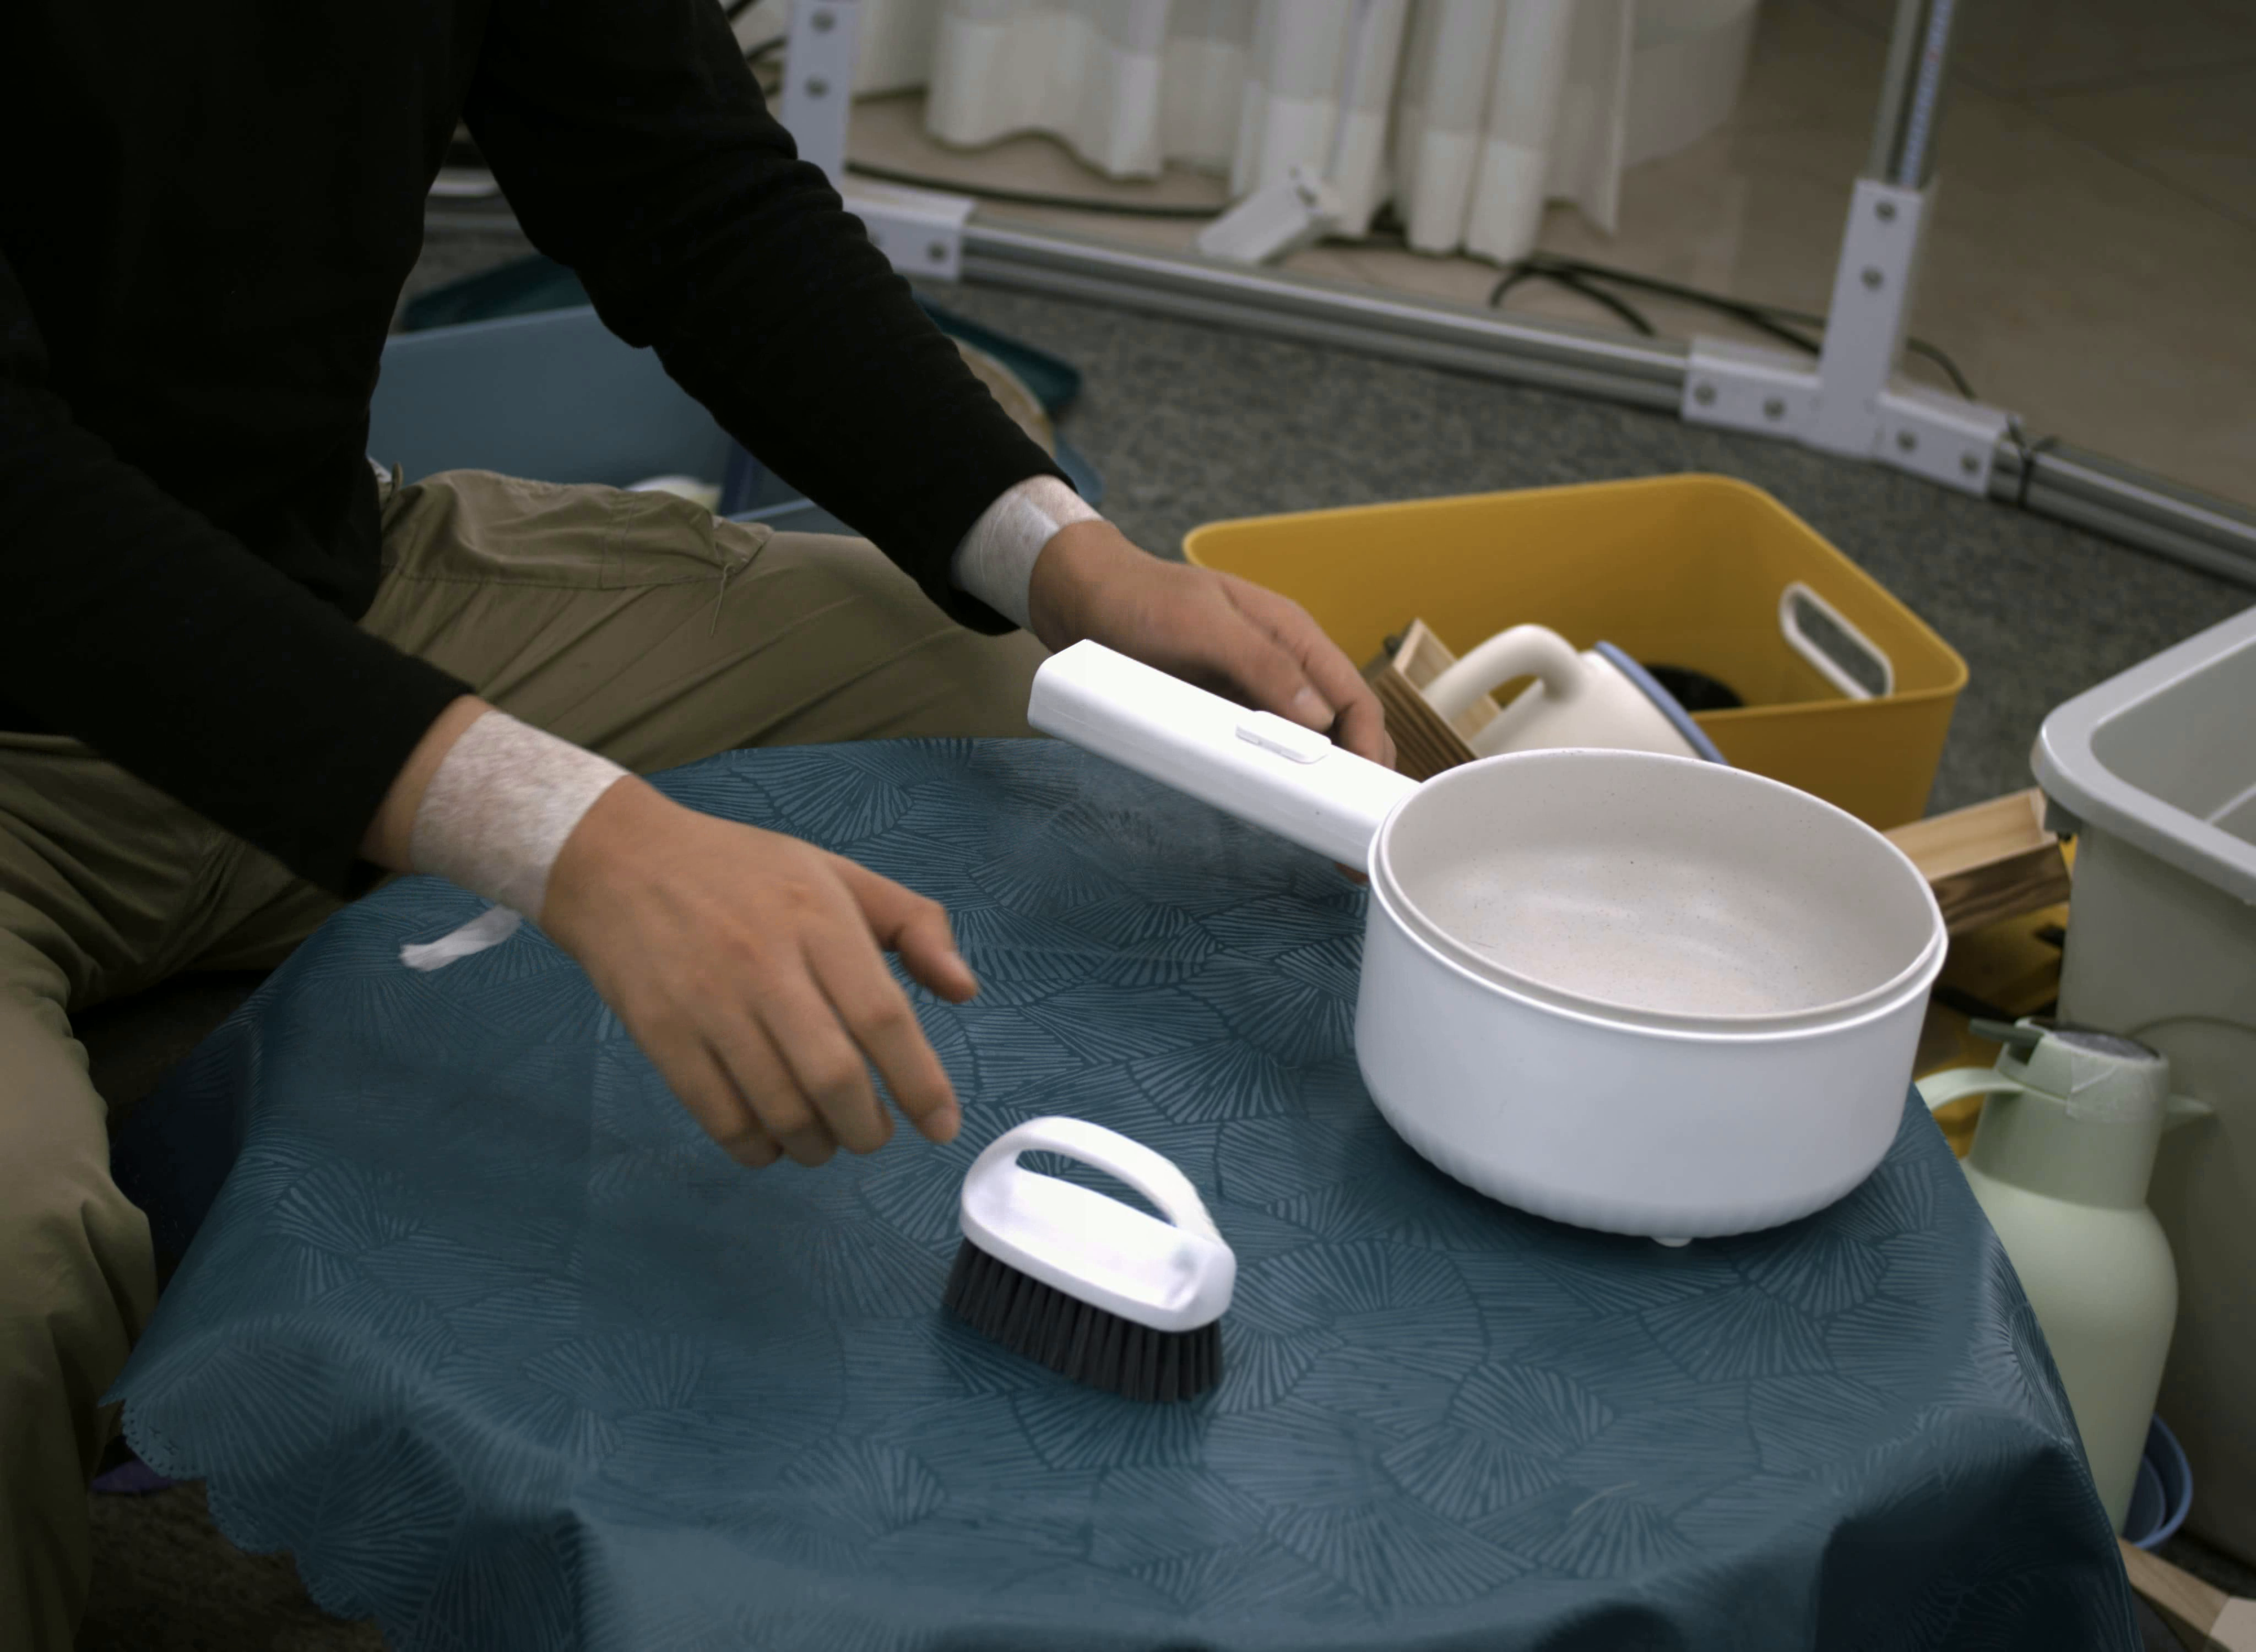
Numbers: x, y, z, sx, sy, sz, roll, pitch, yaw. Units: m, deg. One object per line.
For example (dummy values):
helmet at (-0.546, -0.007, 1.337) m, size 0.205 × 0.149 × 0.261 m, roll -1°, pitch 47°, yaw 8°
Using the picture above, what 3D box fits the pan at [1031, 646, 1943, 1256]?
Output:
pan at (0.114, 0.039, 1.891) m, size 0.357 × 0.102 × 0.200 m, roll 22°, pitch 33°, yaw 29°

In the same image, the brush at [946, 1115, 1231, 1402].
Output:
brush at (-0.012, 0.132, 1.703) m, size 0.100 × 0.072 × 0.050 m, roll 24°, pitch 31°, yaw 30°
